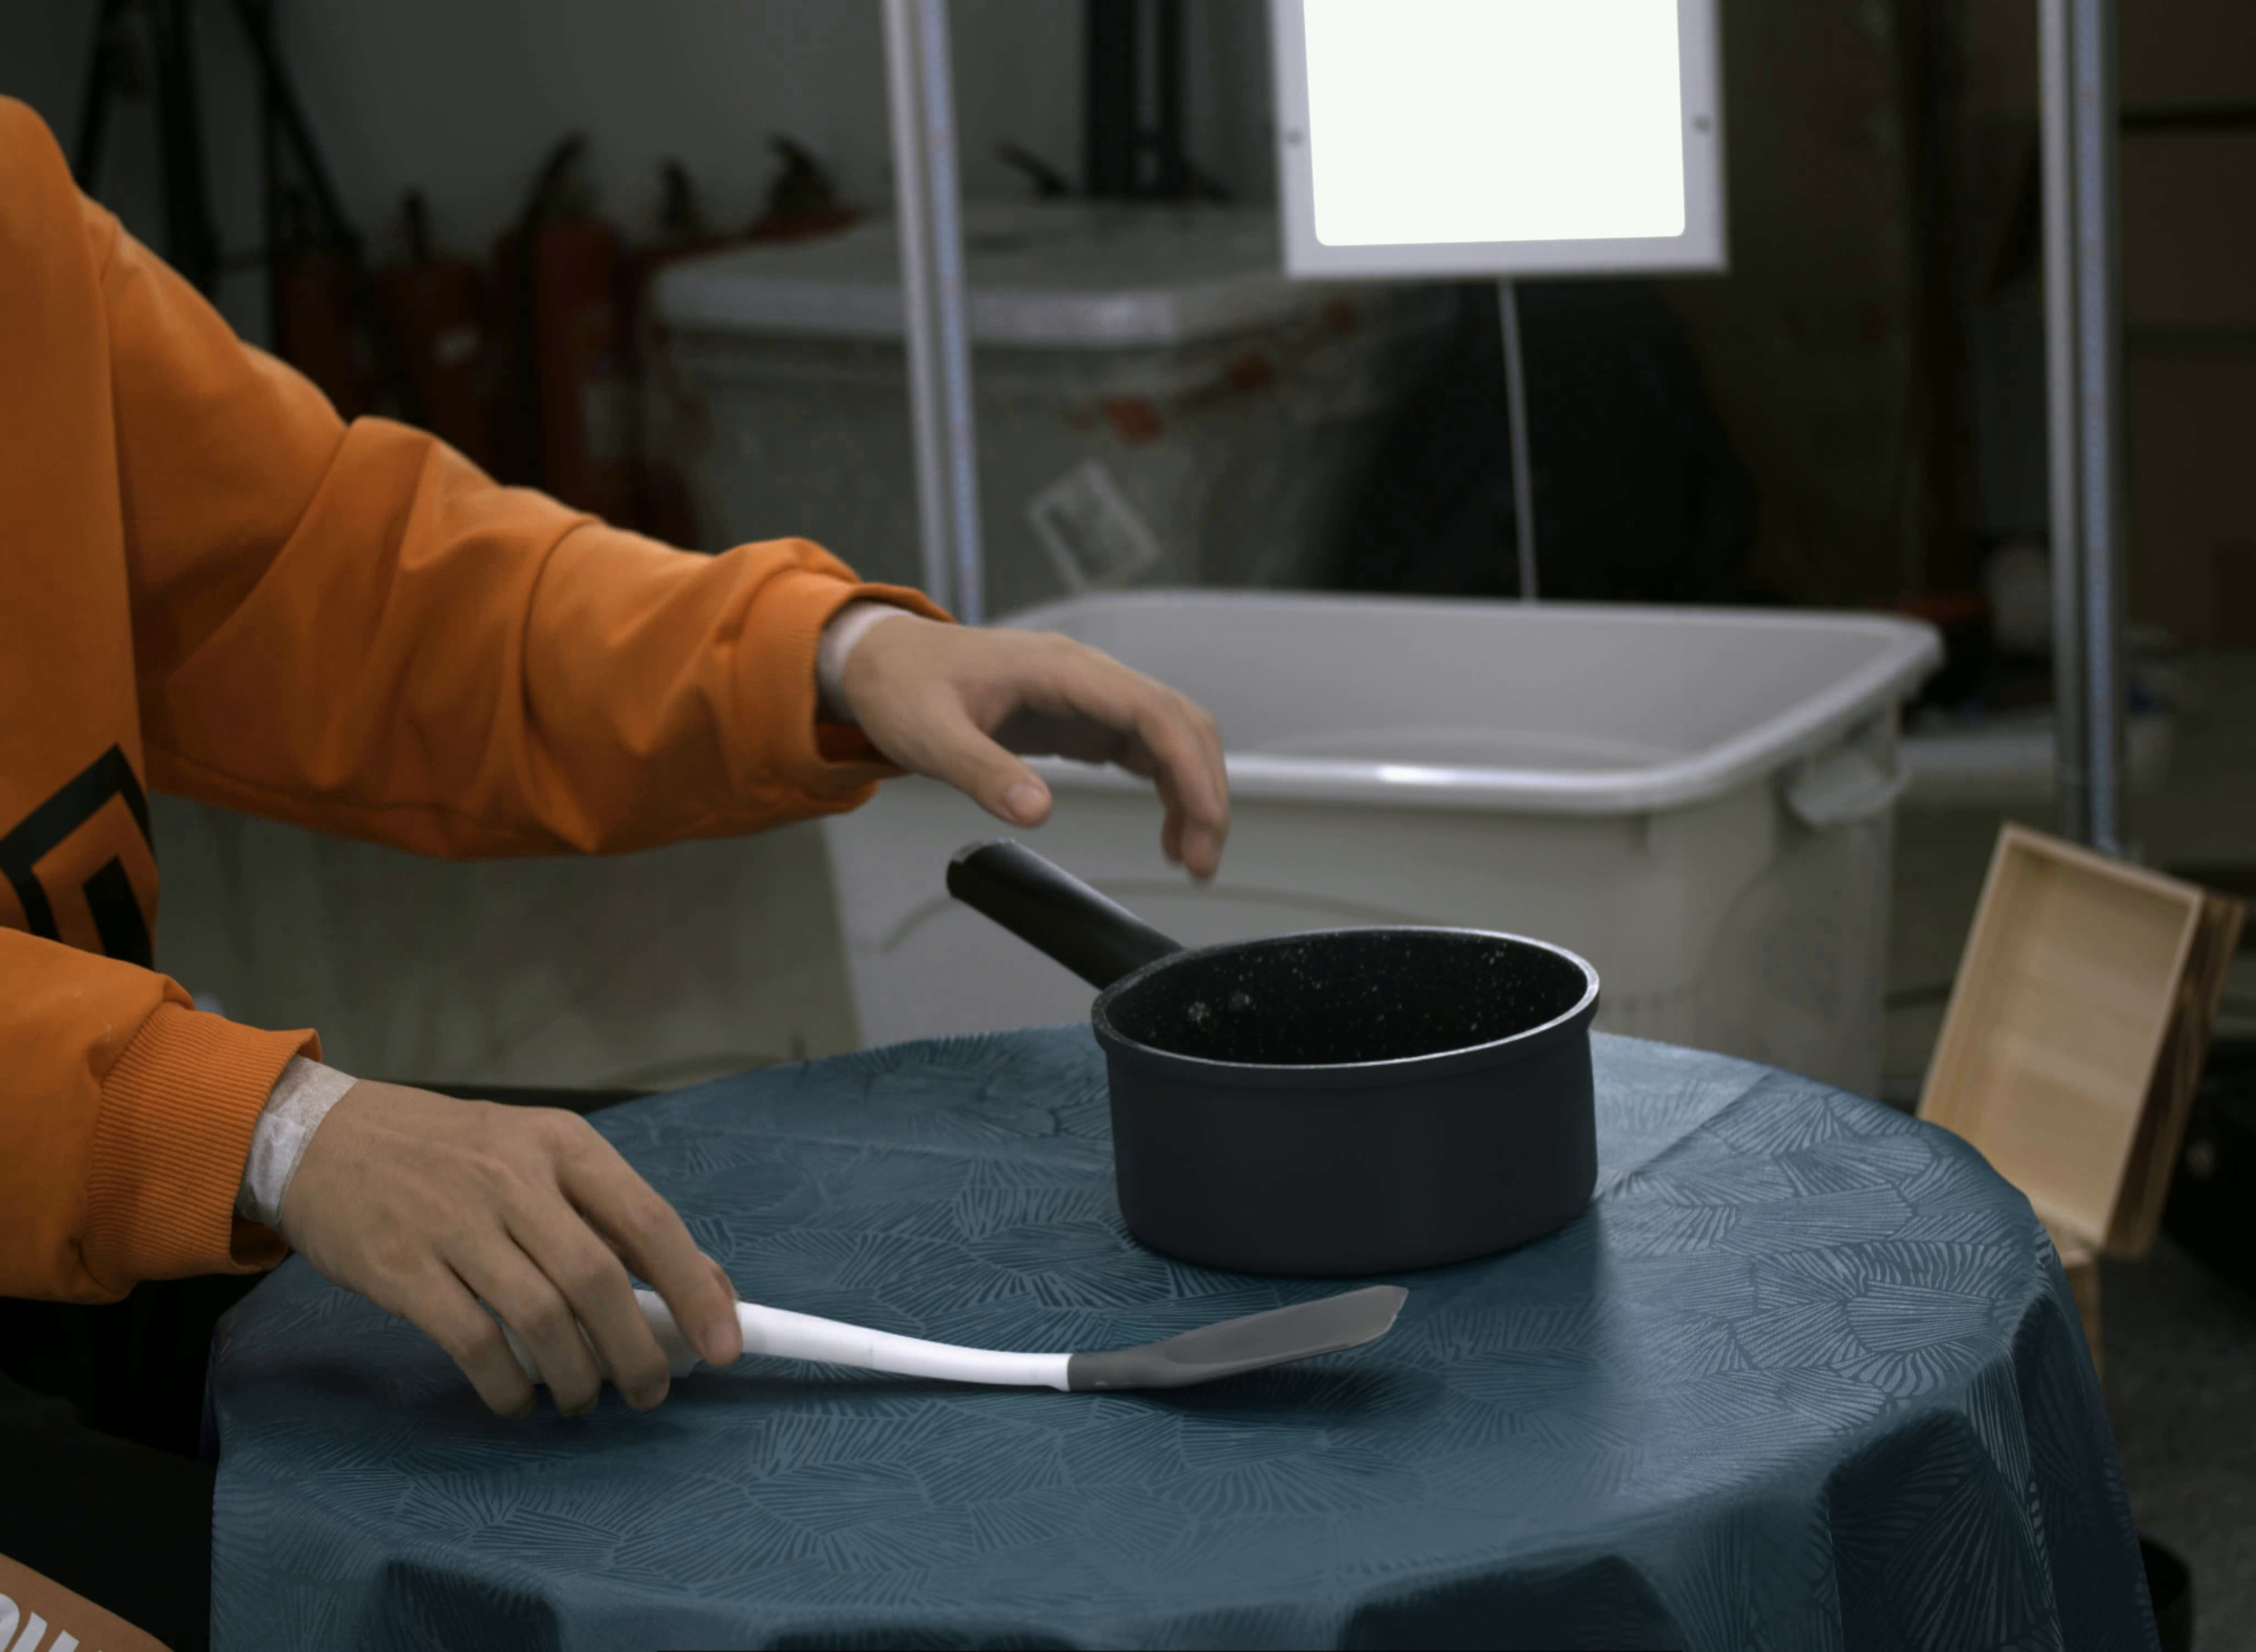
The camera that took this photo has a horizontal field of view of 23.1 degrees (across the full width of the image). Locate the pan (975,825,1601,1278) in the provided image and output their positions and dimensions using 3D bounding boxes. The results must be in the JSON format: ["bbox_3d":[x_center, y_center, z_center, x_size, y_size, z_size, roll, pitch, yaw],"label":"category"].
[{"bbox_3d":[0.036,0.074,1.919,0.168,0.087,0.334,-11,17,-27],"label":"pan"}]

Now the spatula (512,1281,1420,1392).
[{"bbox_3d":[-0.051,0.160,1.714,0.290,0.032,0.058,-2,9,16],"label":"spatula"}]
